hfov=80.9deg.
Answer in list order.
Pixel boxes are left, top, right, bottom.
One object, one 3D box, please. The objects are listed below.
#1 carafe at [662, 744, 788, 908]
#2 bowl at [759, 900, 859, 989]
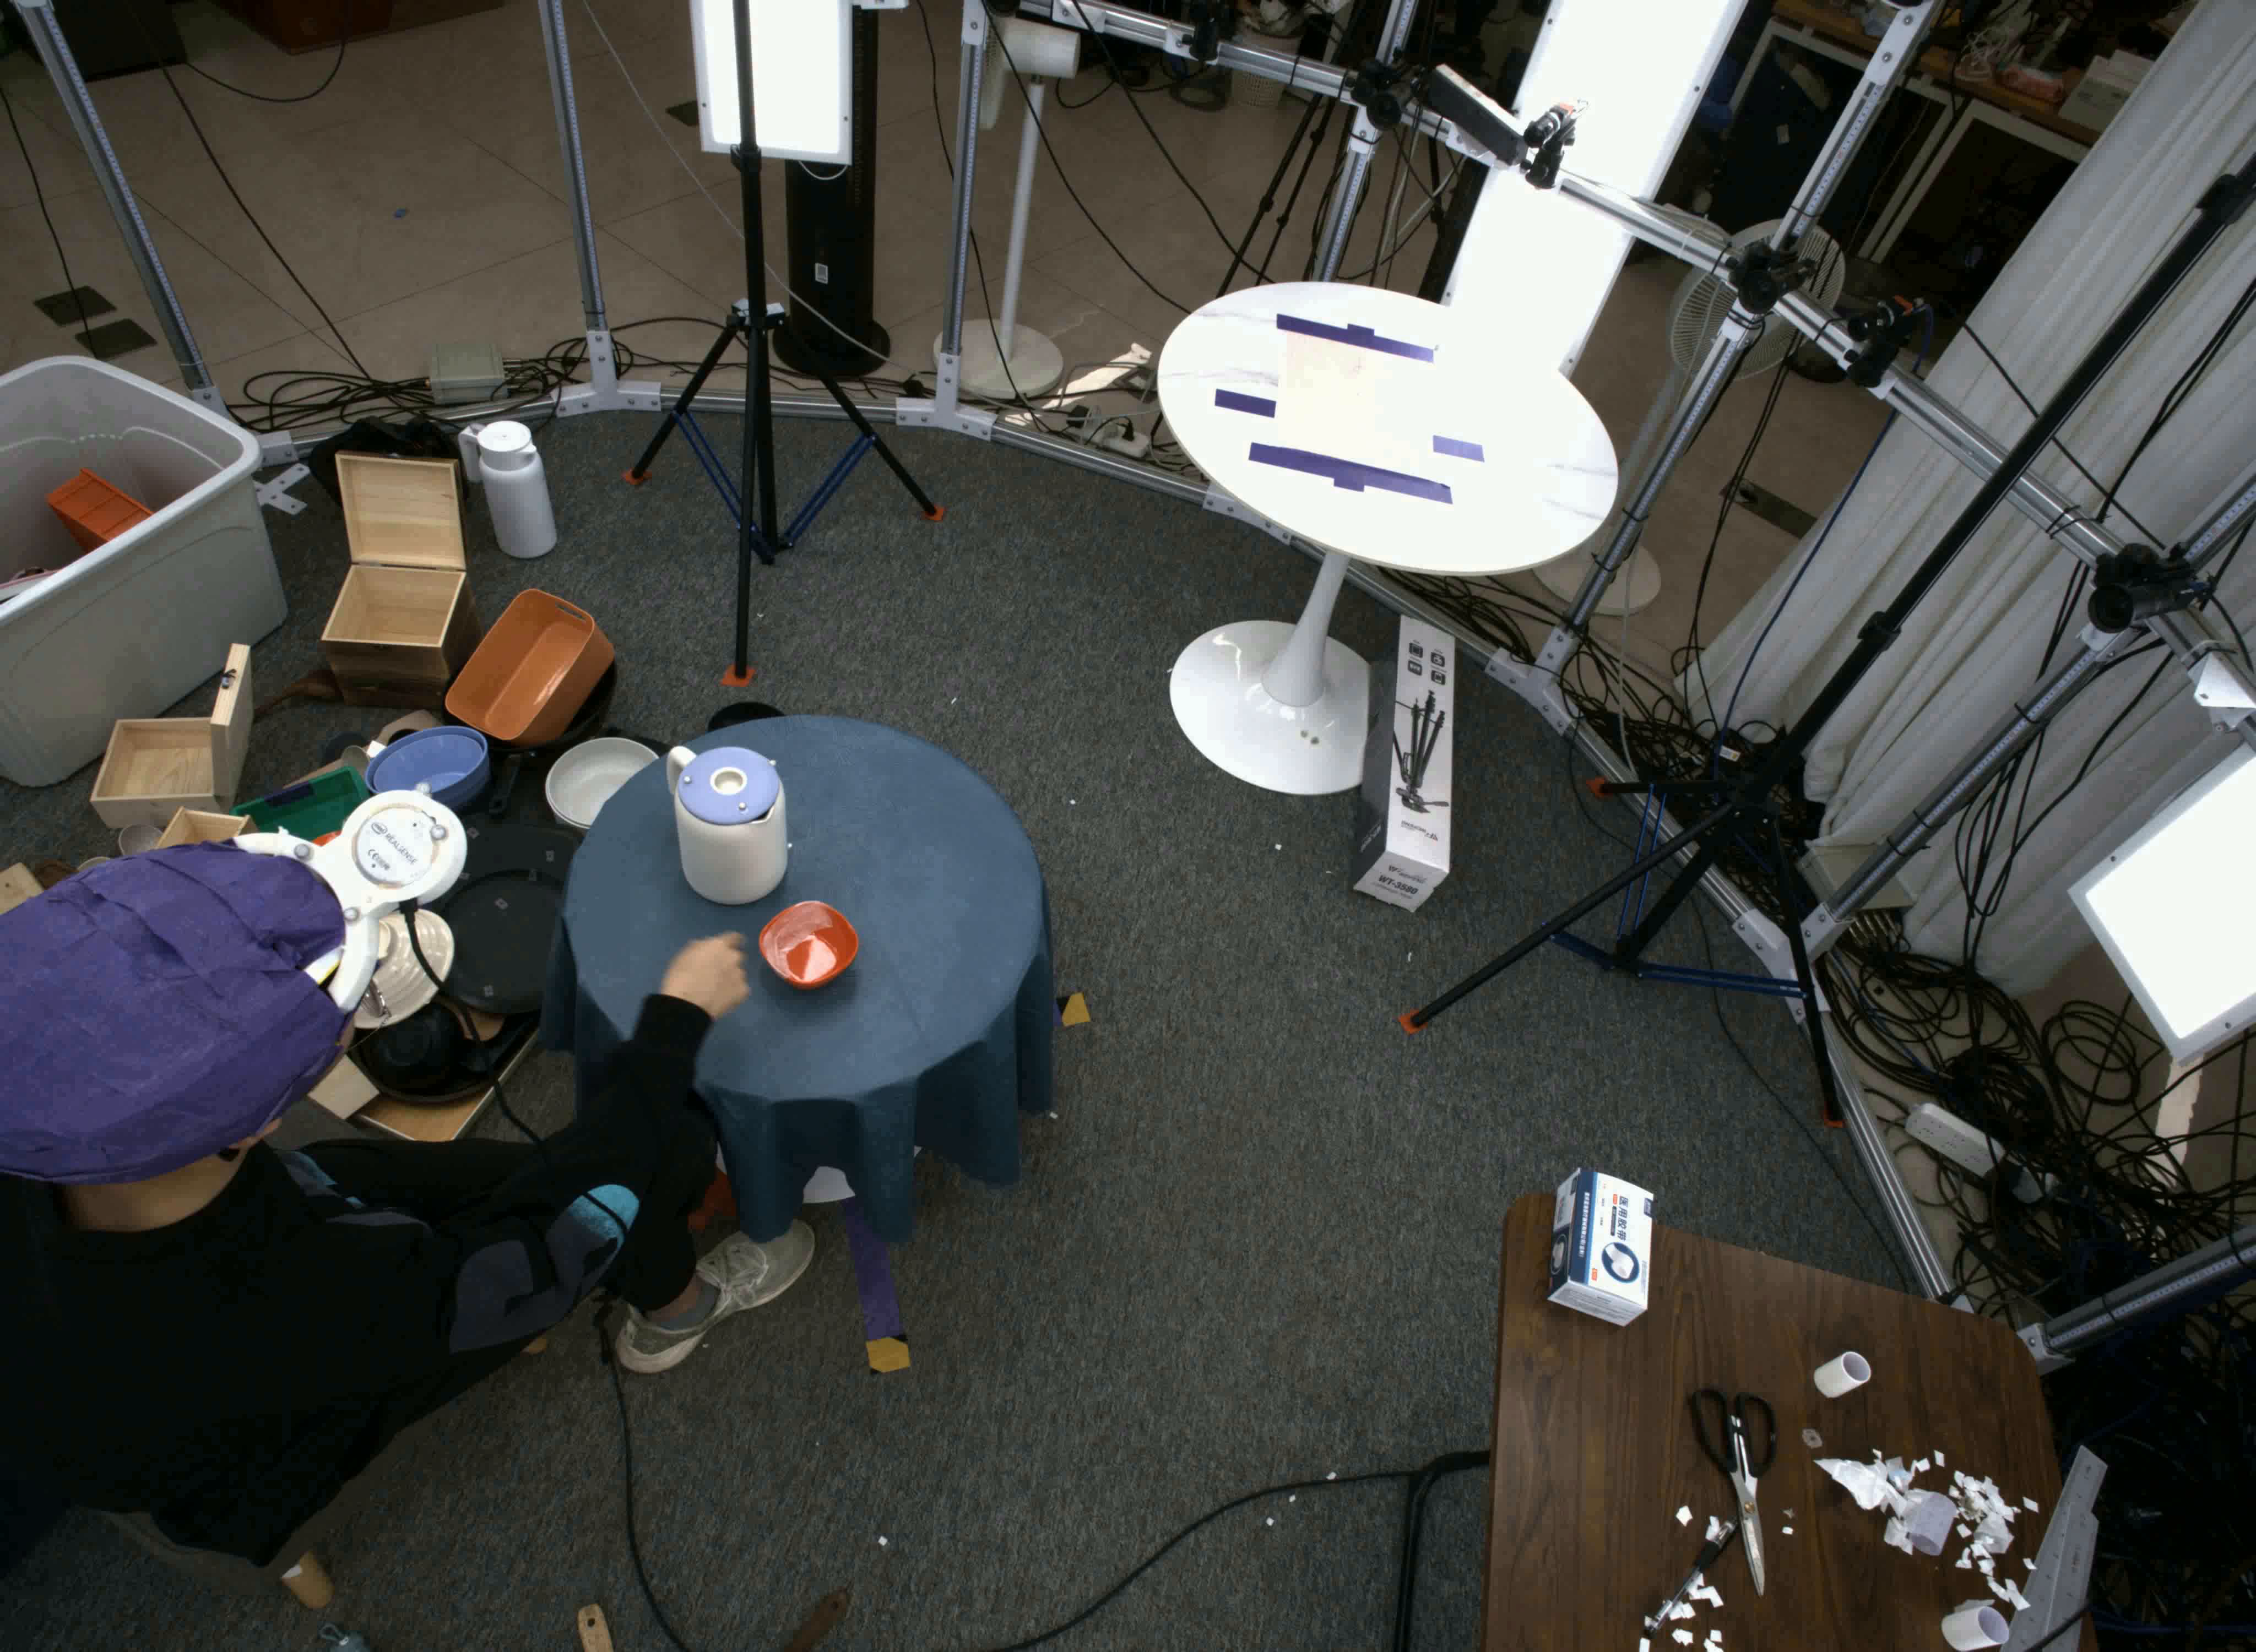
[{"bbox_3d":[-0.511,-0.014,1.607,0.187,0.187,0.132,34,52,16],"label":"carafe"},{"bbox_3d":[-0.391,0.152,1.591,0.119,0.052,0.117,10,51,-11],"label":"bowl"}]
